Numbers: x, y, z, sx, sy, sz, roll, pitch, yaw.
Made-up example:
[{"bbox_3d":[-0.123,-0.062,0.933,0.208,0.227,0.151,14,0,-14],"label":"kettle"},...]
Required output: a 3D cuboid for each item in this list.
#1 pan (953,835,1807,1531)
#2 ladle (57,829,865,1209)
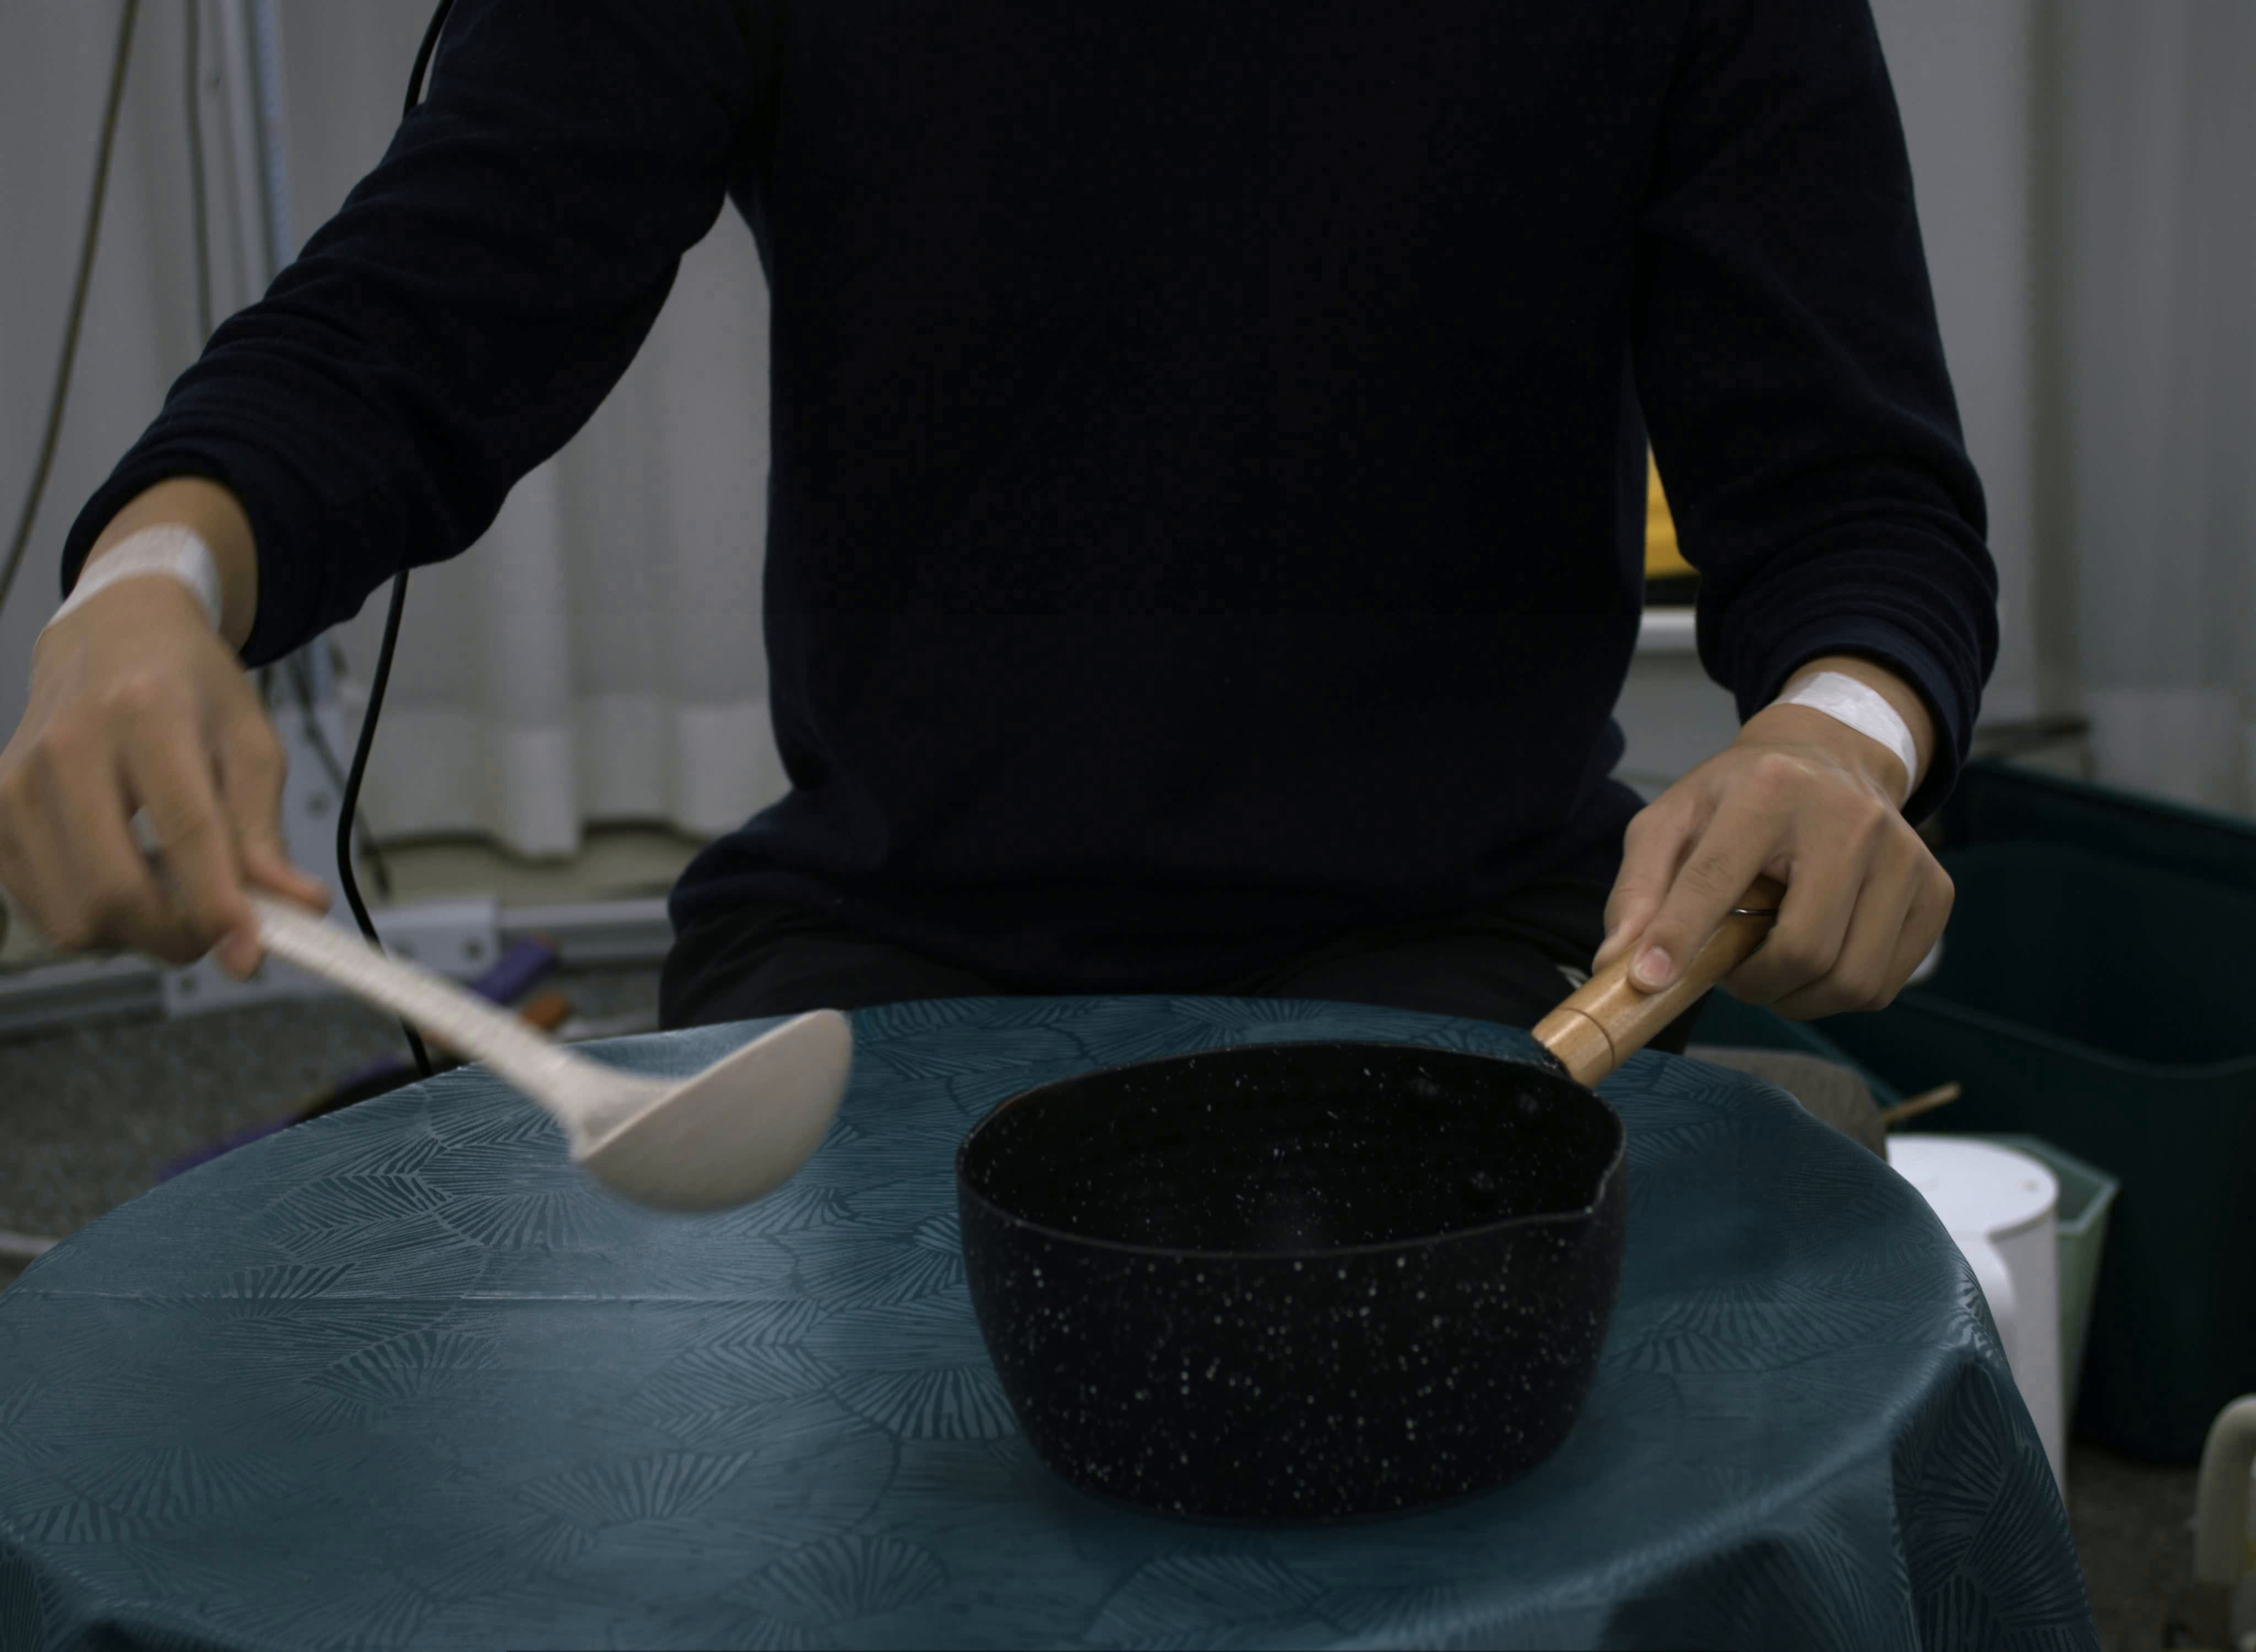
[{"bbox_3d":[0.094,0.096,1.558,0.208,0.108,0.343,7,19,37],"label":"pan"},{"bbox_3d":[-0.190,0.027,1.485,0.277,0.069,0.089,25,35,29],"label":"ladle"}]
